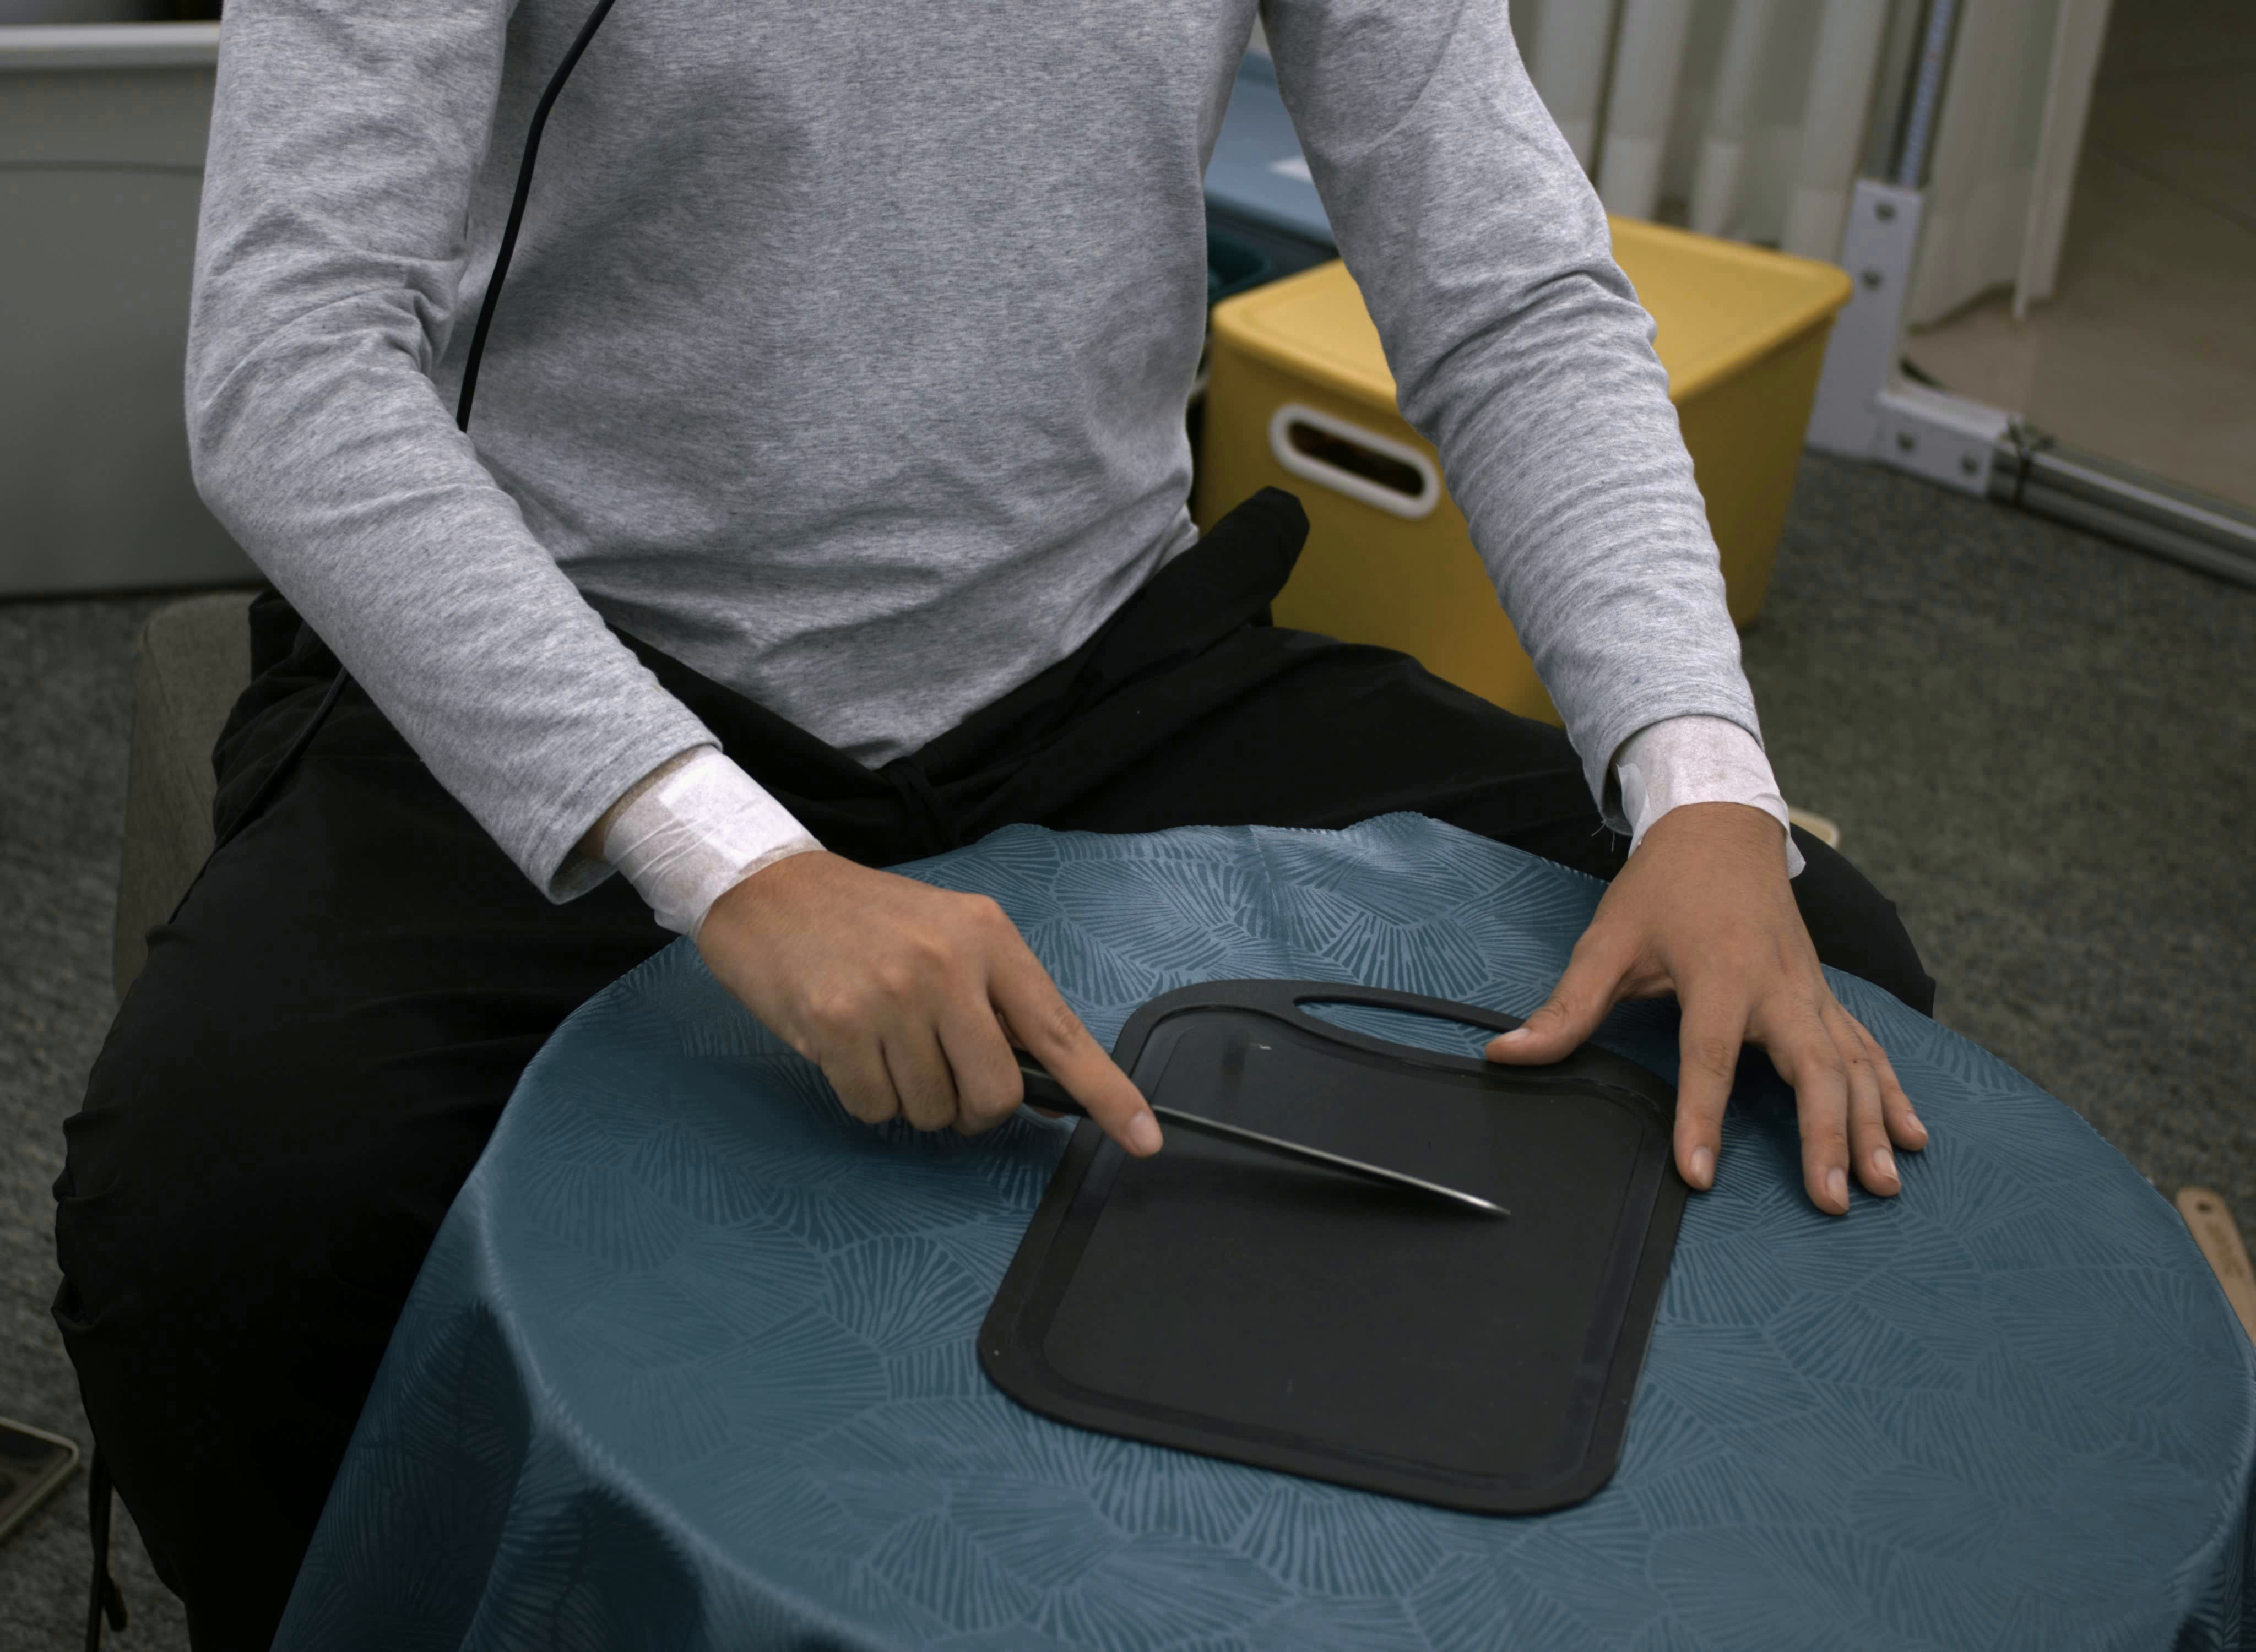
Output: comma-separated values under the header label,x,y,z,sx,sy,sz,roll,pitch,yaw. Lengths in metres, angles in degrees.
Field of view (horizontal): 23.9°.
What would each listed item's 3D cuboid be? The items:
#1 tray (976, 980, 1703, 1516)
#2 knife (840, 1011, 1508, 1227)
label,x,y,z,sx,sy,sz,roll,pitch,yaw
tray,0.079,0.131,1.803,0.211,0.010,0.326,11,27,9
knife,0.016,0.102,1.814,0.238,0.016,0.024,17,-11,2
